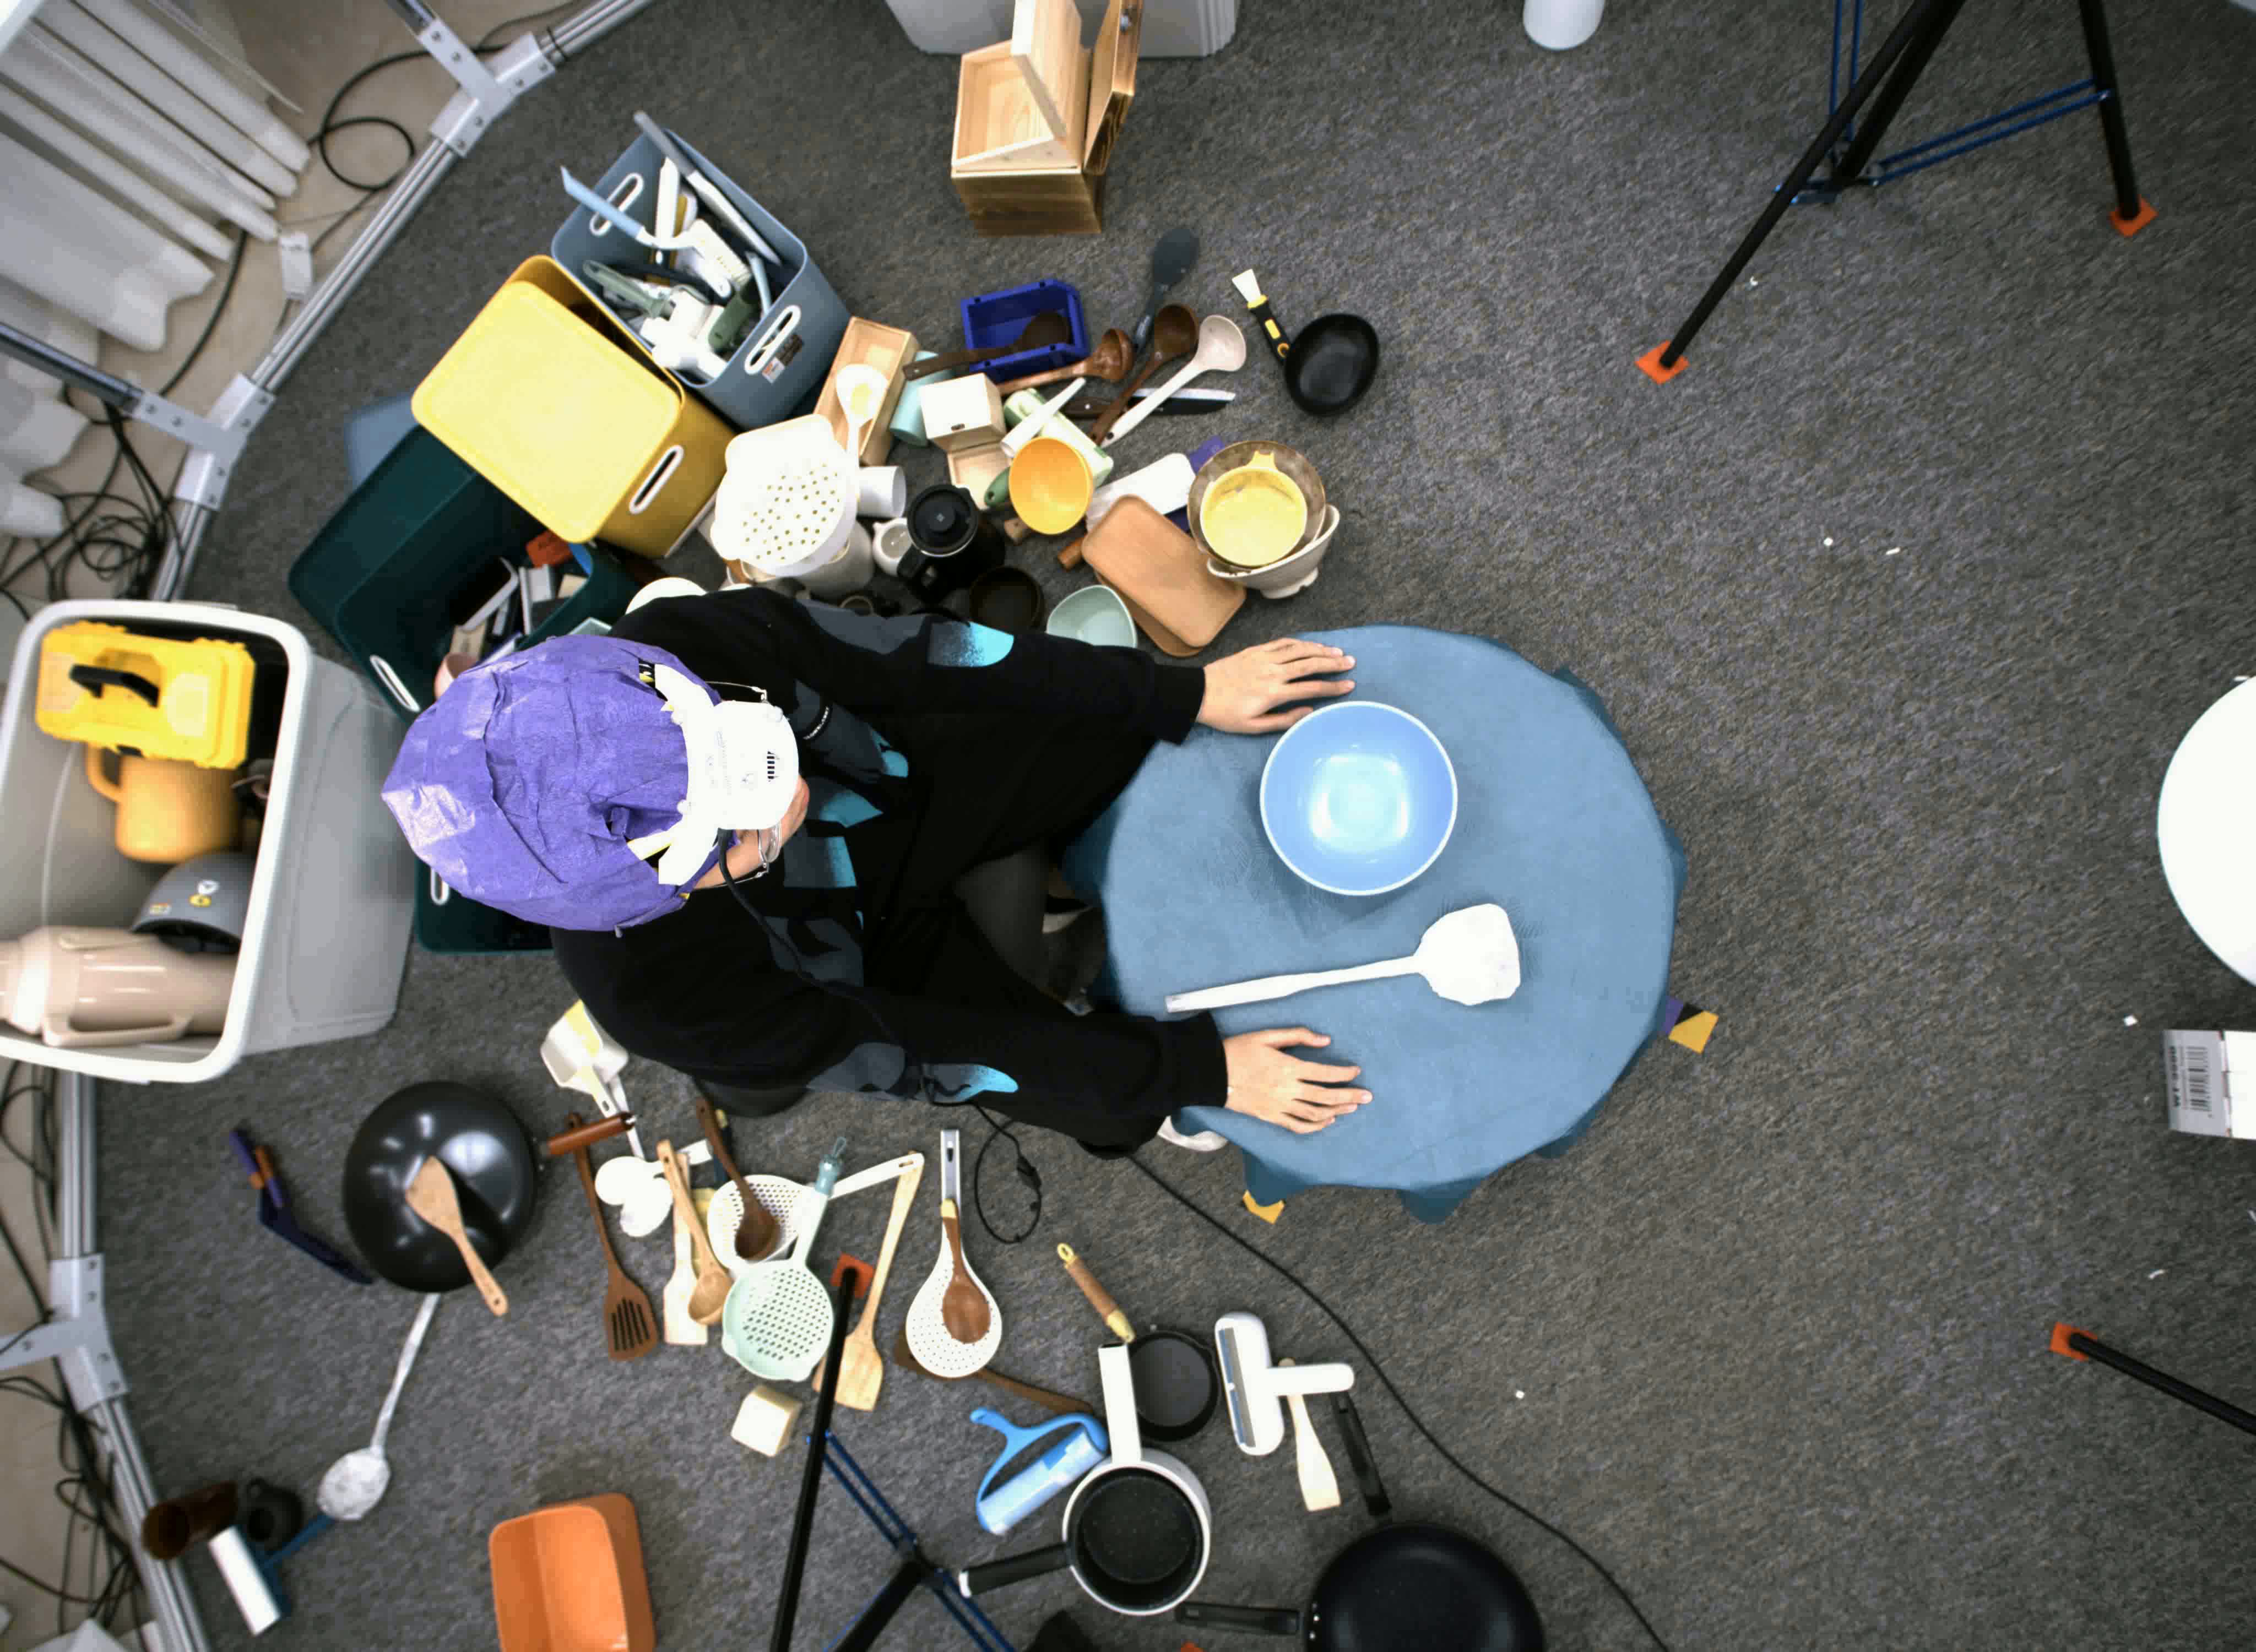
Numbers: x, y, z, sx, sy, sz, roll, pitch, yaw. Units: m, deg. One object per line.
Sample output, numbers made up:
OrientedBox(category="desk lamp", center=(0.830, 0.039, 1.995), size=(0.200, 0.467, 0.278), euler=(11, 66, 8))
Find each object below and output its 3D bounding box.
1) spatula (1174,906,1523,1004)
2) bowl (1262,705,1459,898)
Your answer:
OrientedBox(category="spatula", center=(0.225, 0.154, 1.448), size=(0.367, 0.045, 0.098), euler=(-9, 86, 9))
OrientedBox(category="bowl", center=(0.241, -0.022, 1.430), size=(0.197, 0.095, 0.196), euler=(-1, 87, 11))
